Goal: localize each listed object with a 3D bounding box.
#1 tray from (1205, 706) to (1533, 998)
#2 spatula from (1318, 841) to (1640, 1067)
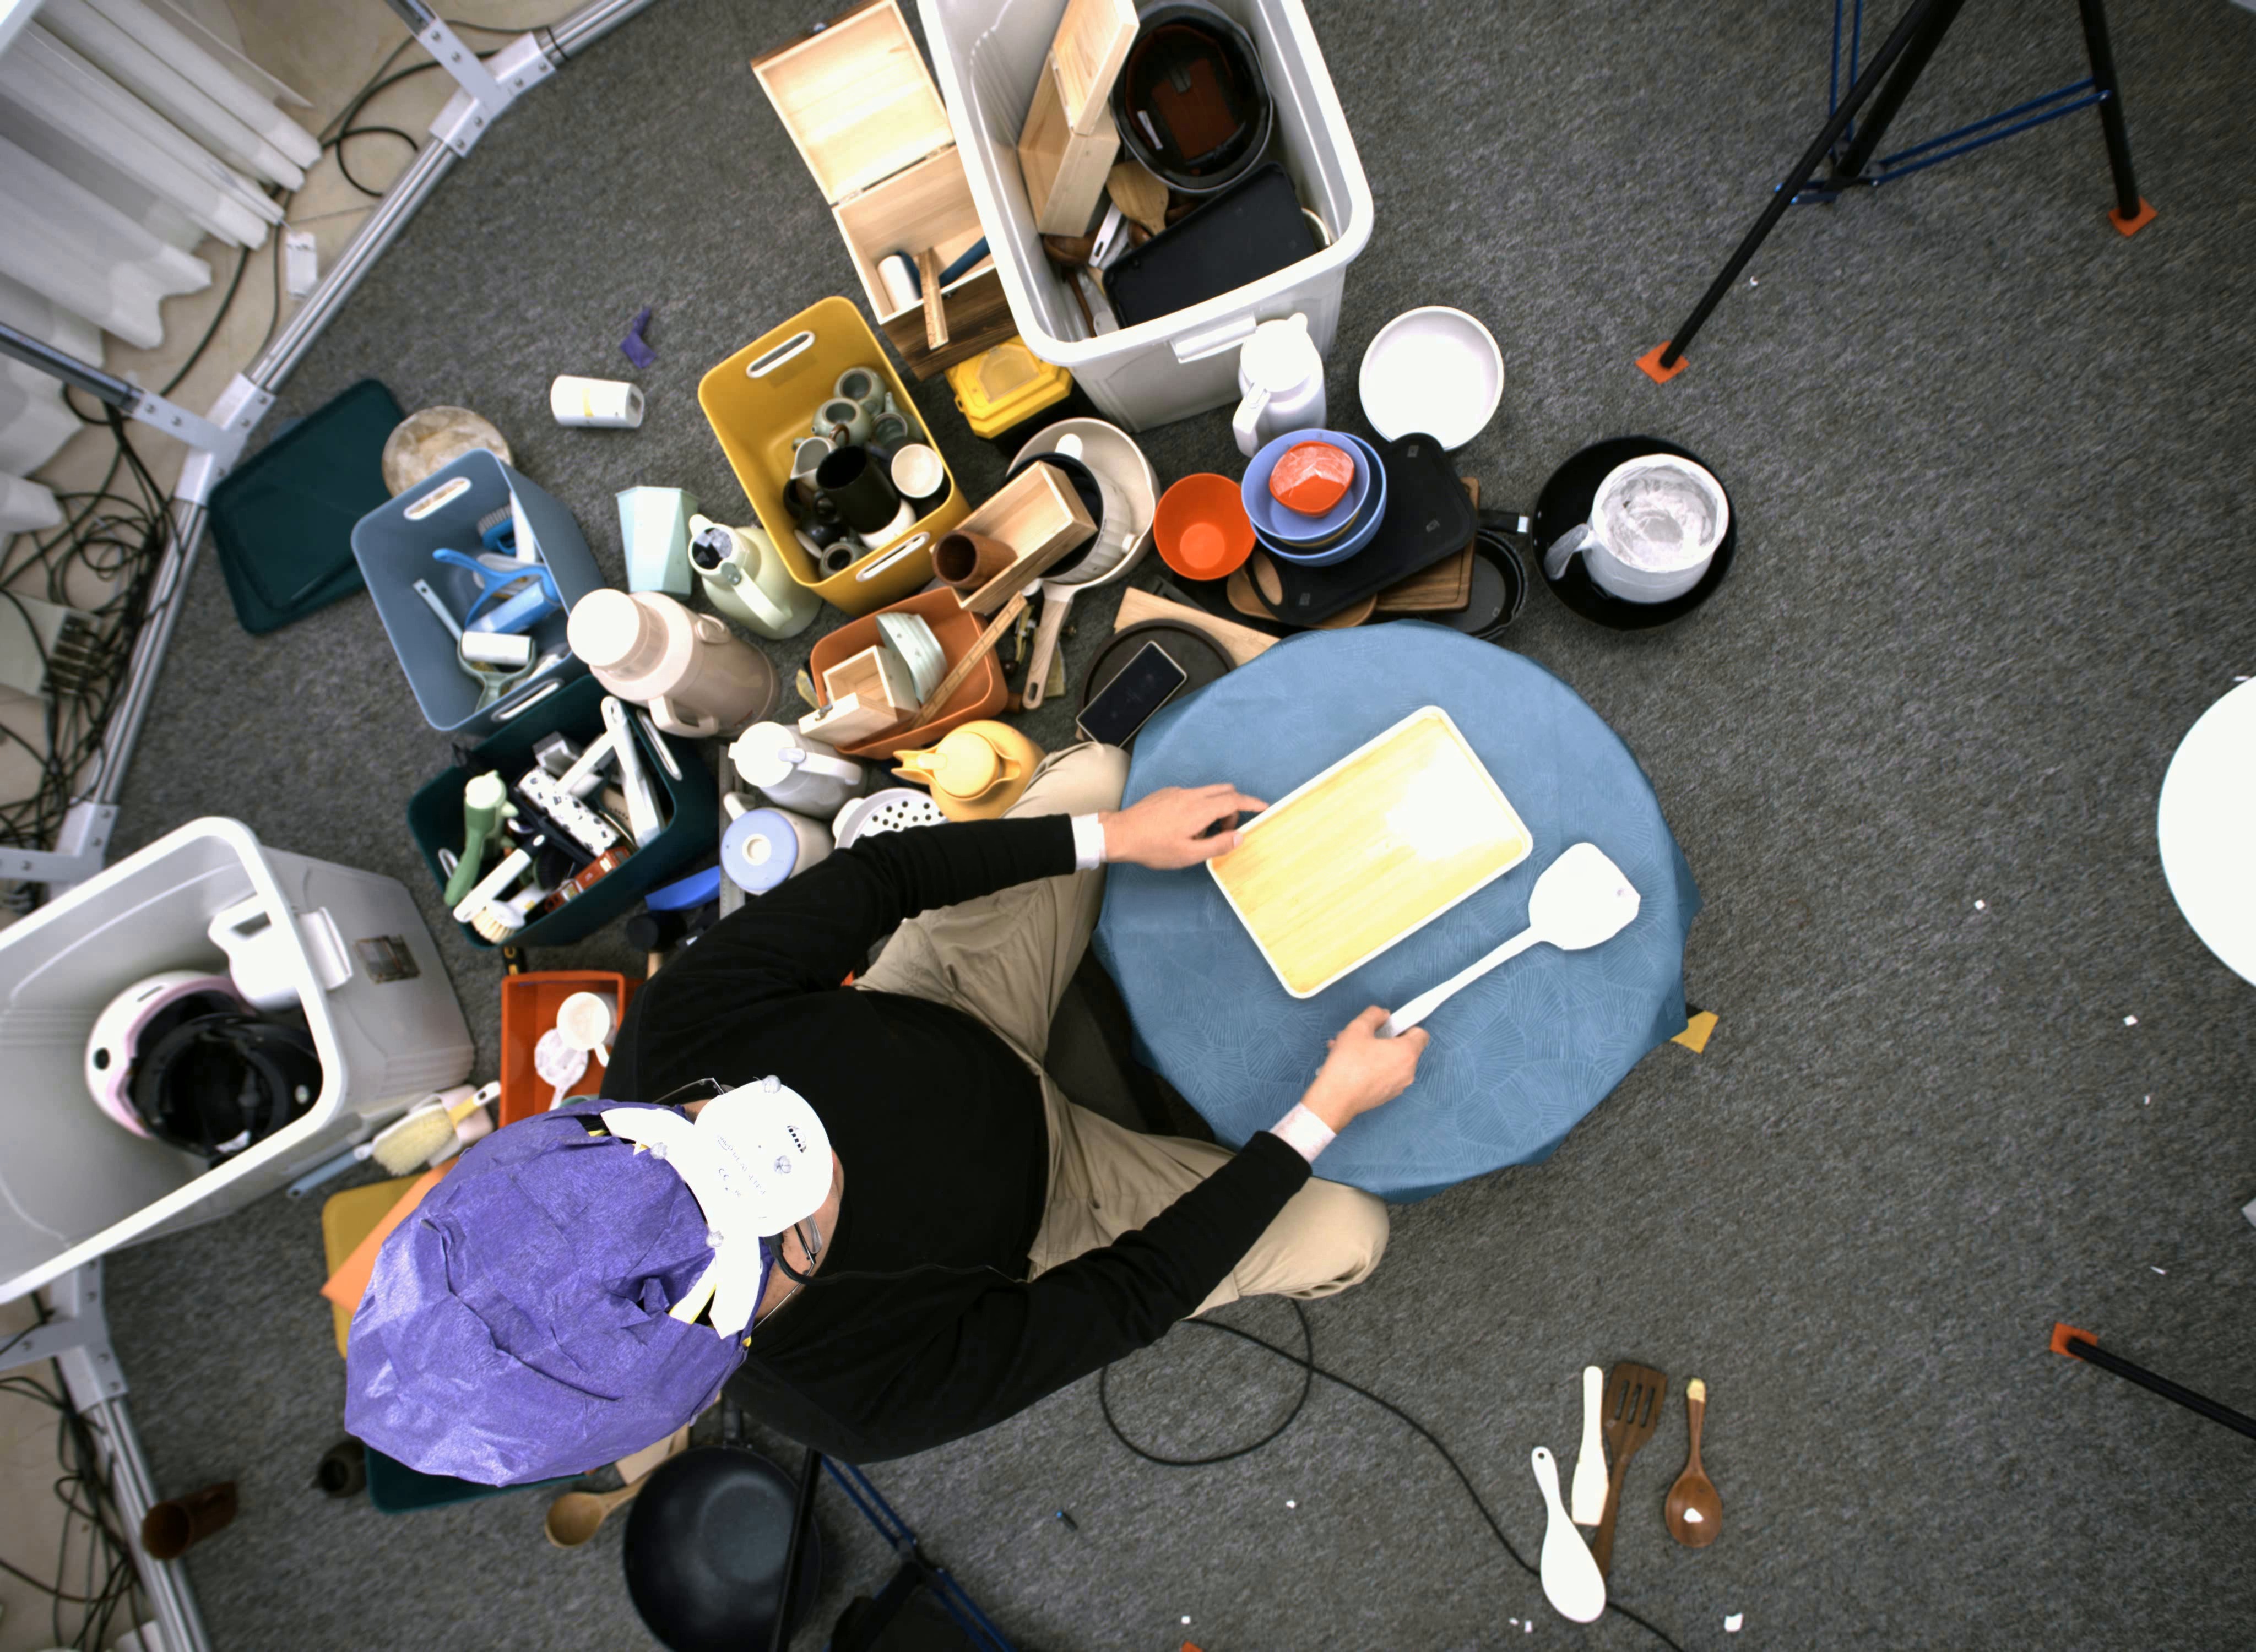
[{"bbox_3d":[0.251,0.026,1.453,0.302,0.027,0.190,-33,82,7],"label":"tray"},{"bbox_3d":[0.350,0.145,1.408,0.365,0.045,0.097,-33,67,1],"label":"spatula"}]
